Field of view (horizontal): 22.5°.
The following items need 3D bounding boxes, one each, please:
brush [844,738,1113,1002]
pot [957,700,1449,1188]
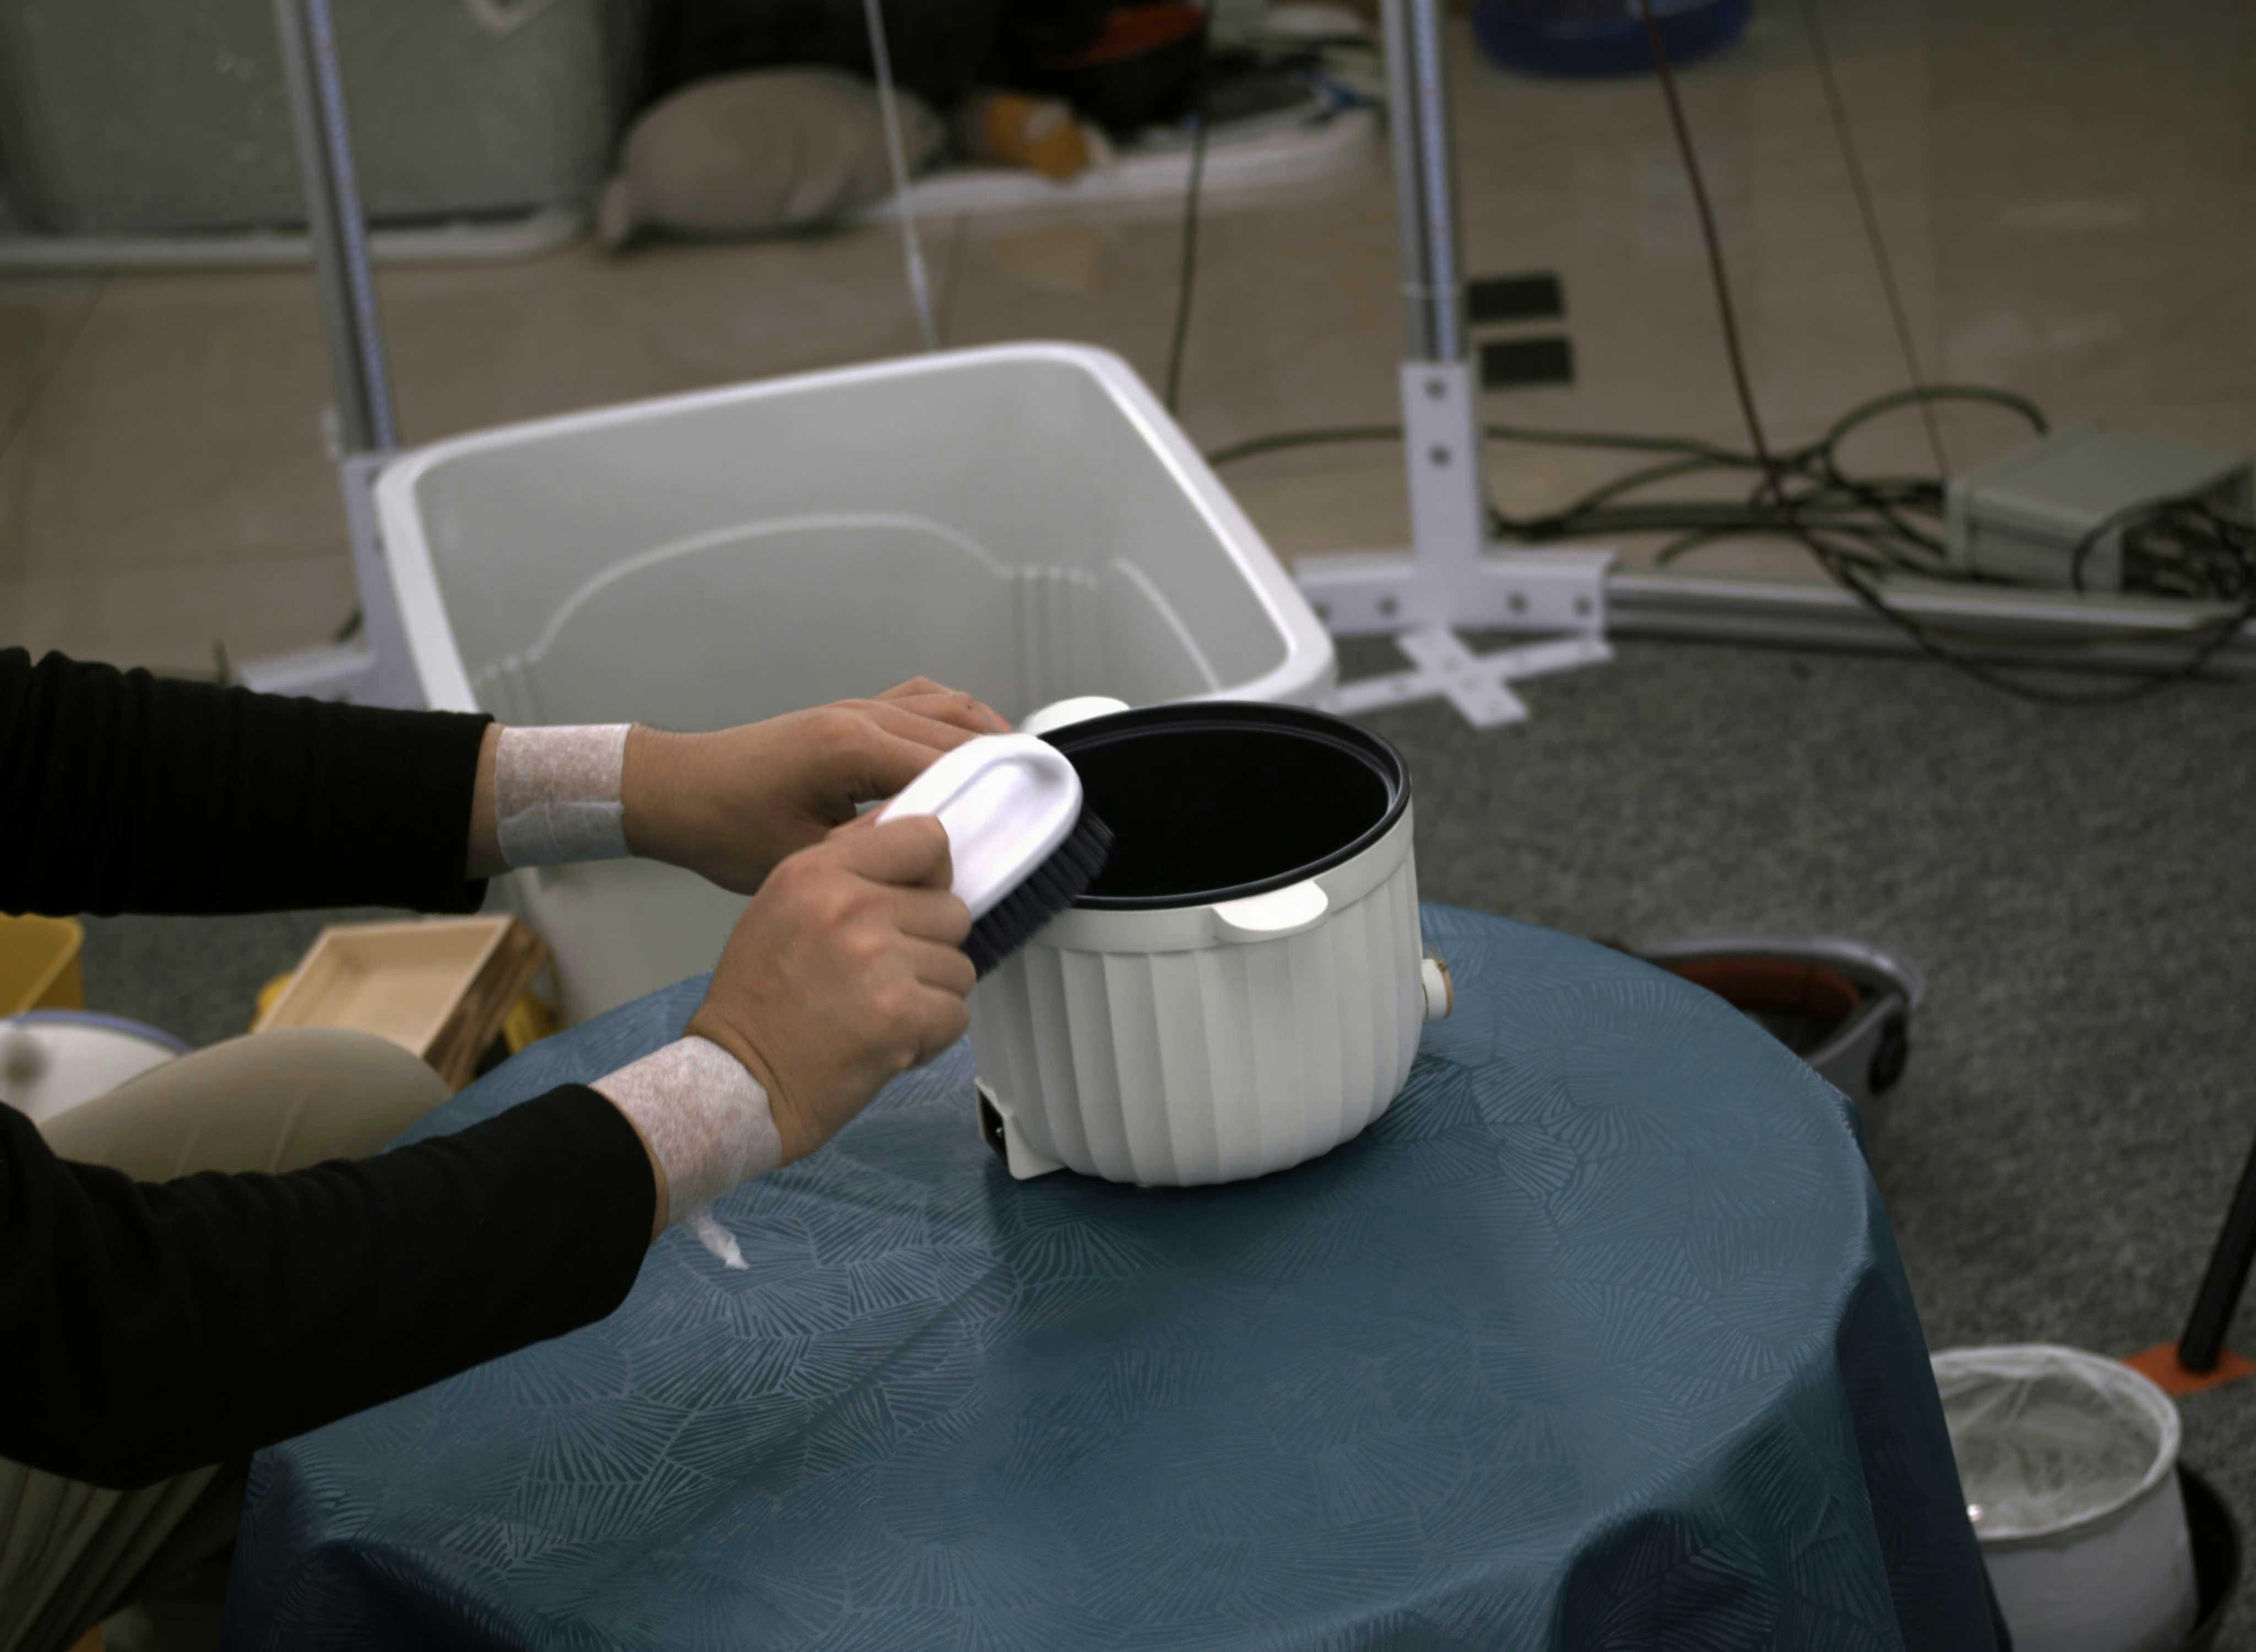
[{"bbox_3d":[-0.058,0.009,2.035,0.099,0.074,0.049,-39,53,-8],"label":"brush"},{"bbox_3d":[0.027,0.048,2.171,0.190,0.145,0.237,-17,28,-16],"label":"pot"}]
